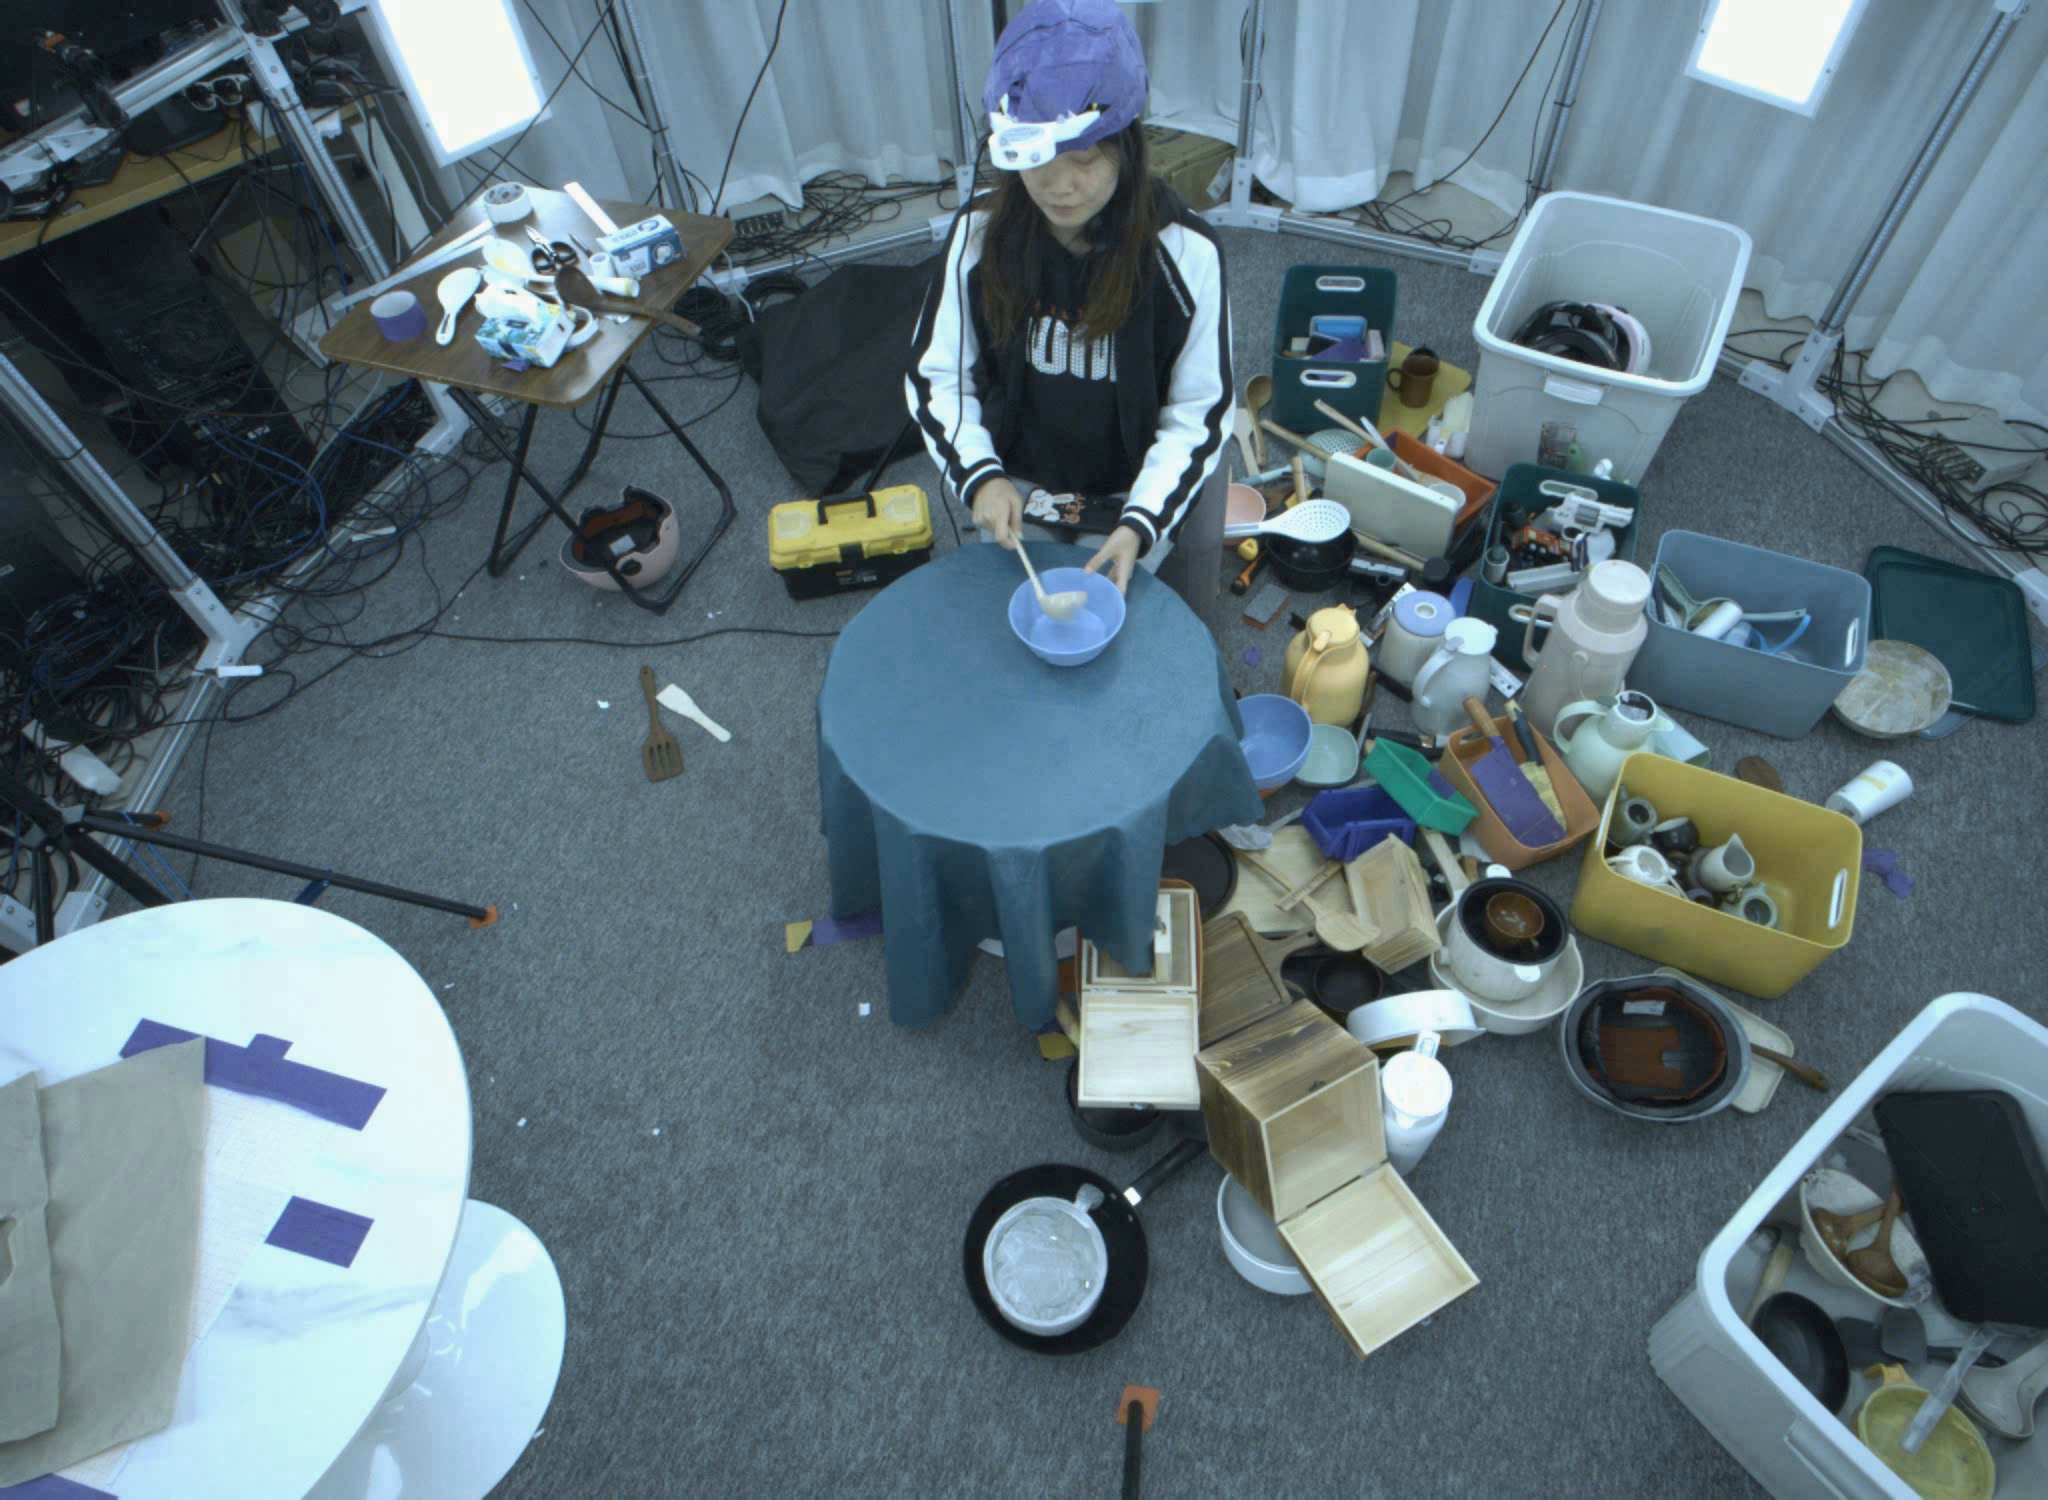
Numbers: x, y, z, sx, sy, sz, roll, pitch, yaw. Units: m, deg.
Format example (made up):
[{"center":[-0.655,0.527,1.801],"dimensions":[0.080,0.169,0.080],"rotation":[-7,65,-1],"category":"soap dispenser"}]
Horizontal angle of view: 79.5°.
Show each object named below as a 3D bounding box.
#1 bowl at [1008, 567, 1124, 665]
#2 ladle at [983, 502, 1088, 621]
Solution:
[{"center":[0.064,-0.195,1.881],"dimensions":[0.176,0.071,0.174],"rotation":[0,55,1],"category":"bowl"},{"center":[0.014,-0.307,1.870],"dimensions":[0.073,0.072,0.251],"rotation":[-7,62,-48],"category":"ladle"}]
